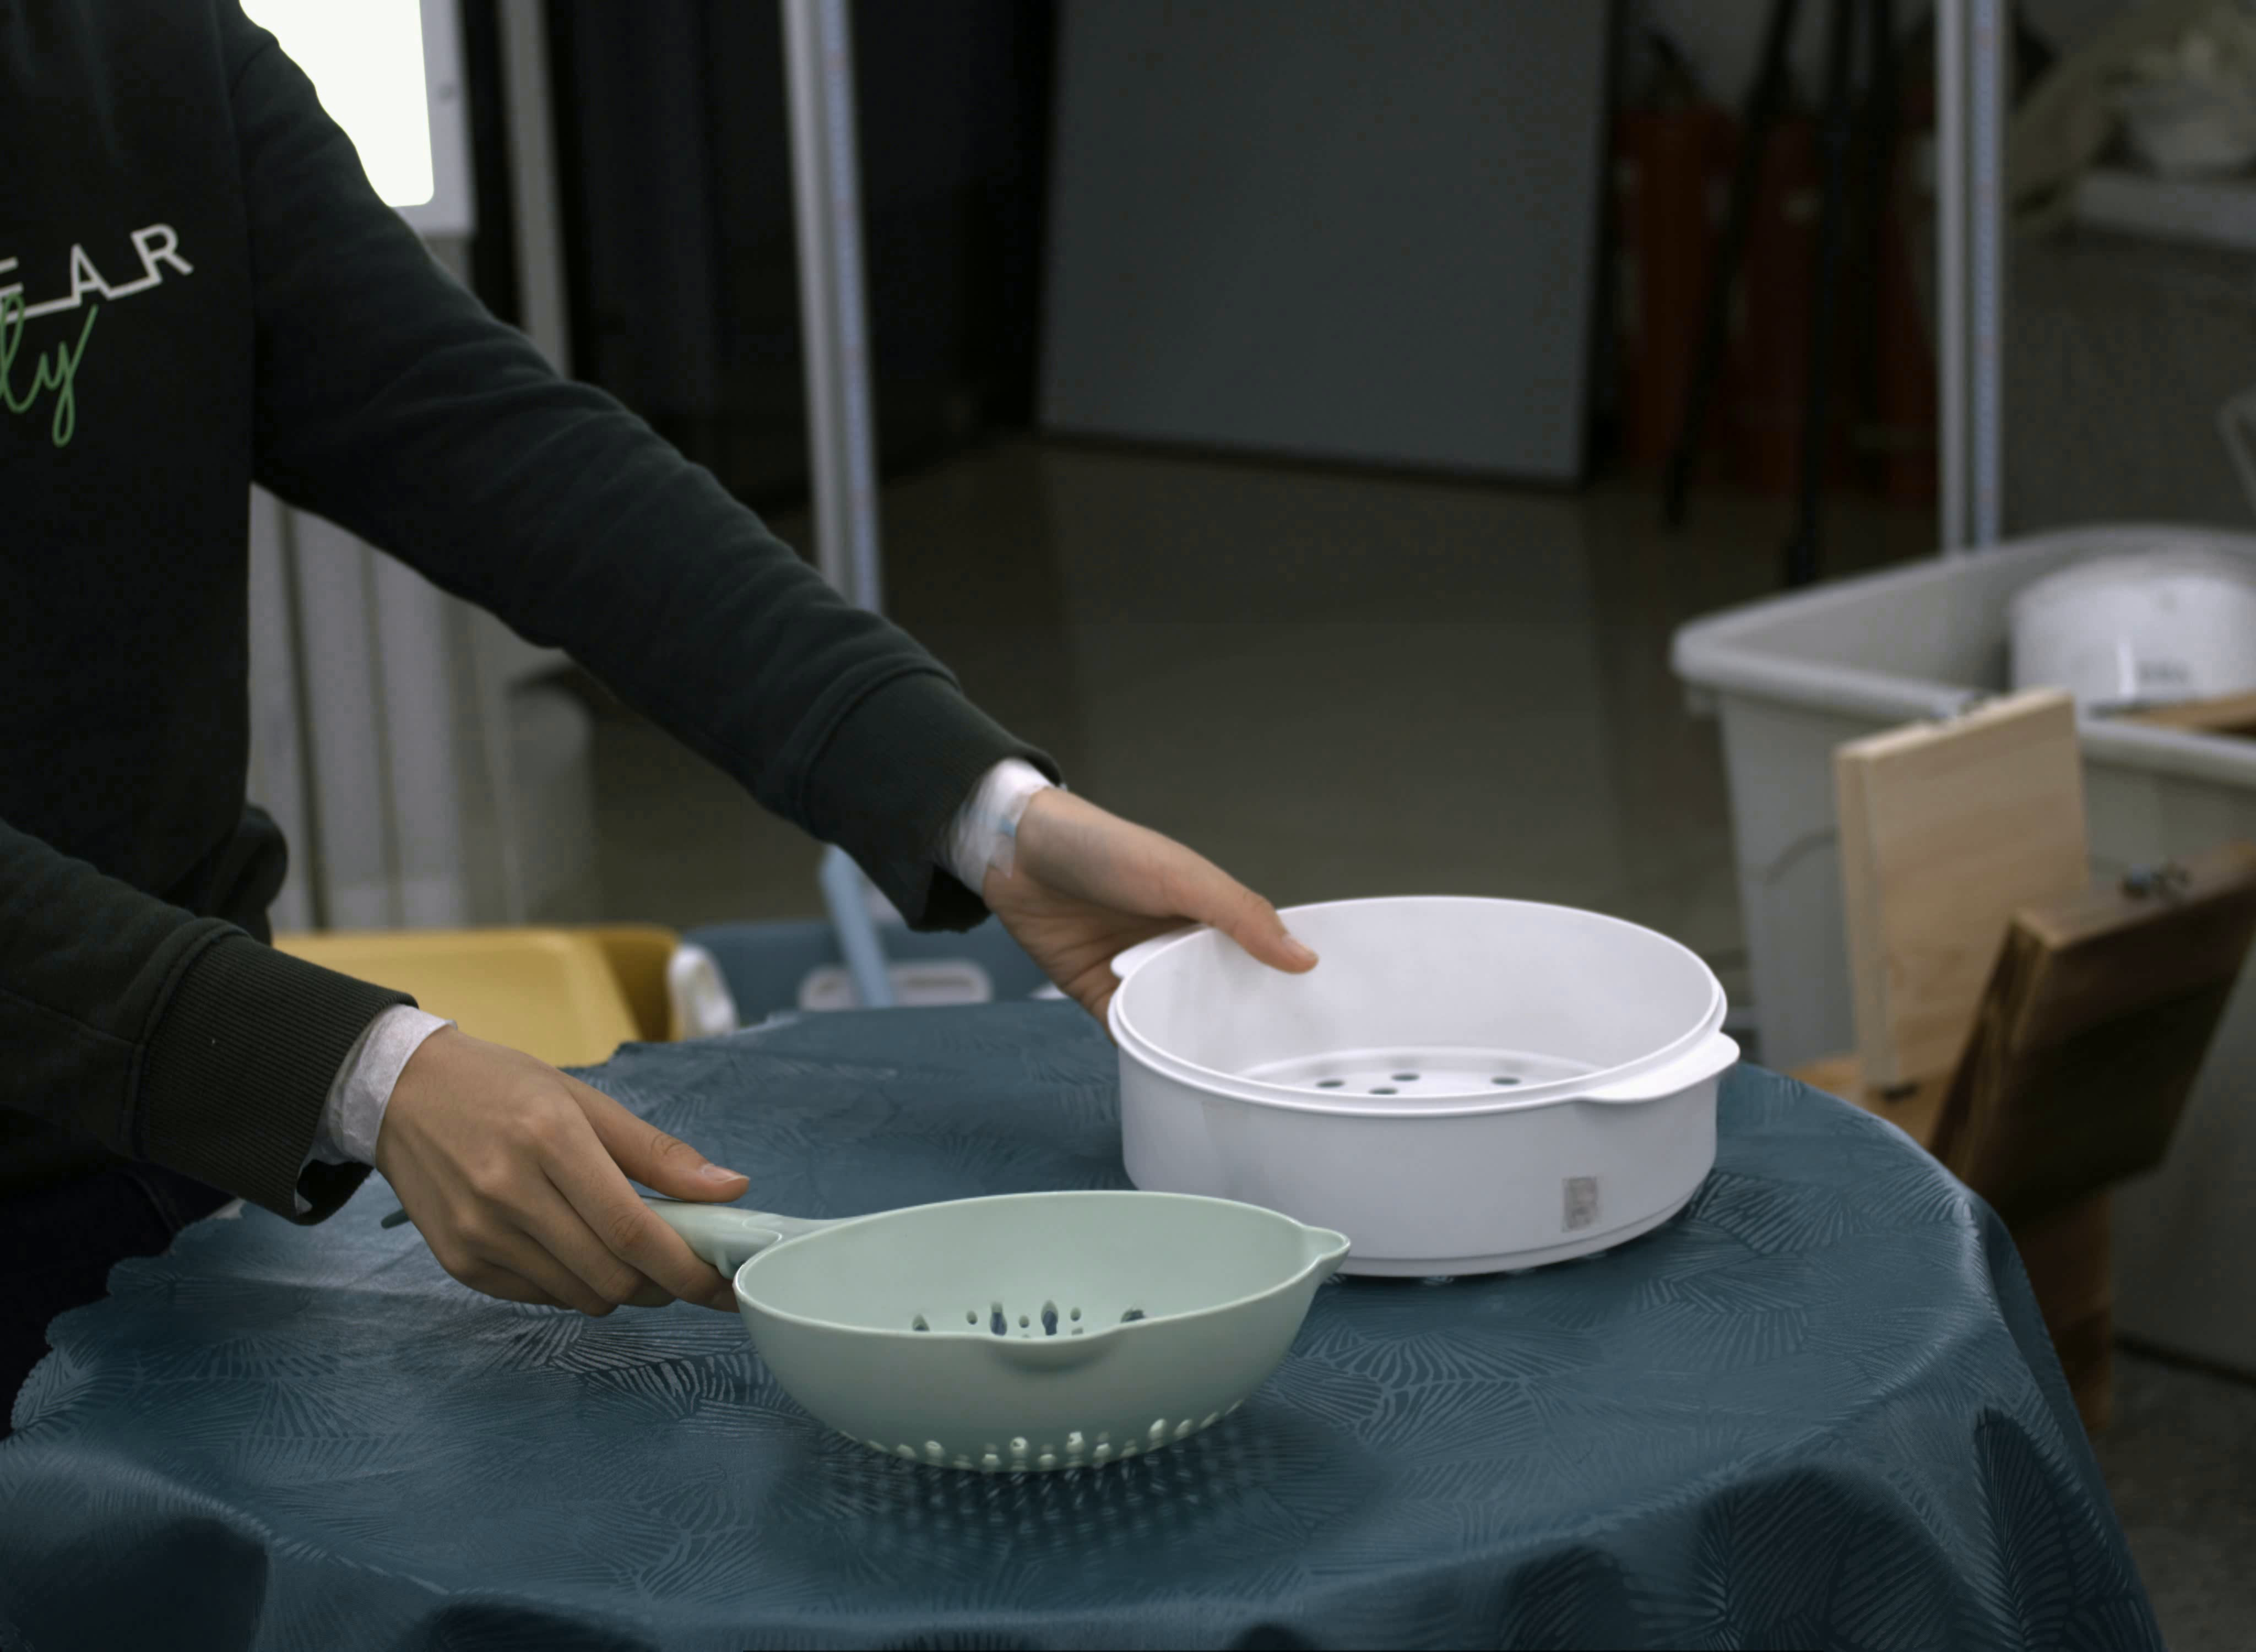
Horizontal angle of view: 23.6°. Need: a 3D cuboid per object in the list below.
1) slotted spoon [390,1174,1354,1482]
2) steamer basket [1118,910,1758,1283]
[{"bbox_3d":[-0.099,0.131,1.599,0.362,0.076,0.166,14,18,41],"label":"slotted spoon"},{"bbox_3d":[0.097,0.087,1.734,0.232,0.070,0.198,12,21,40],"label":"steamer basket"}]
